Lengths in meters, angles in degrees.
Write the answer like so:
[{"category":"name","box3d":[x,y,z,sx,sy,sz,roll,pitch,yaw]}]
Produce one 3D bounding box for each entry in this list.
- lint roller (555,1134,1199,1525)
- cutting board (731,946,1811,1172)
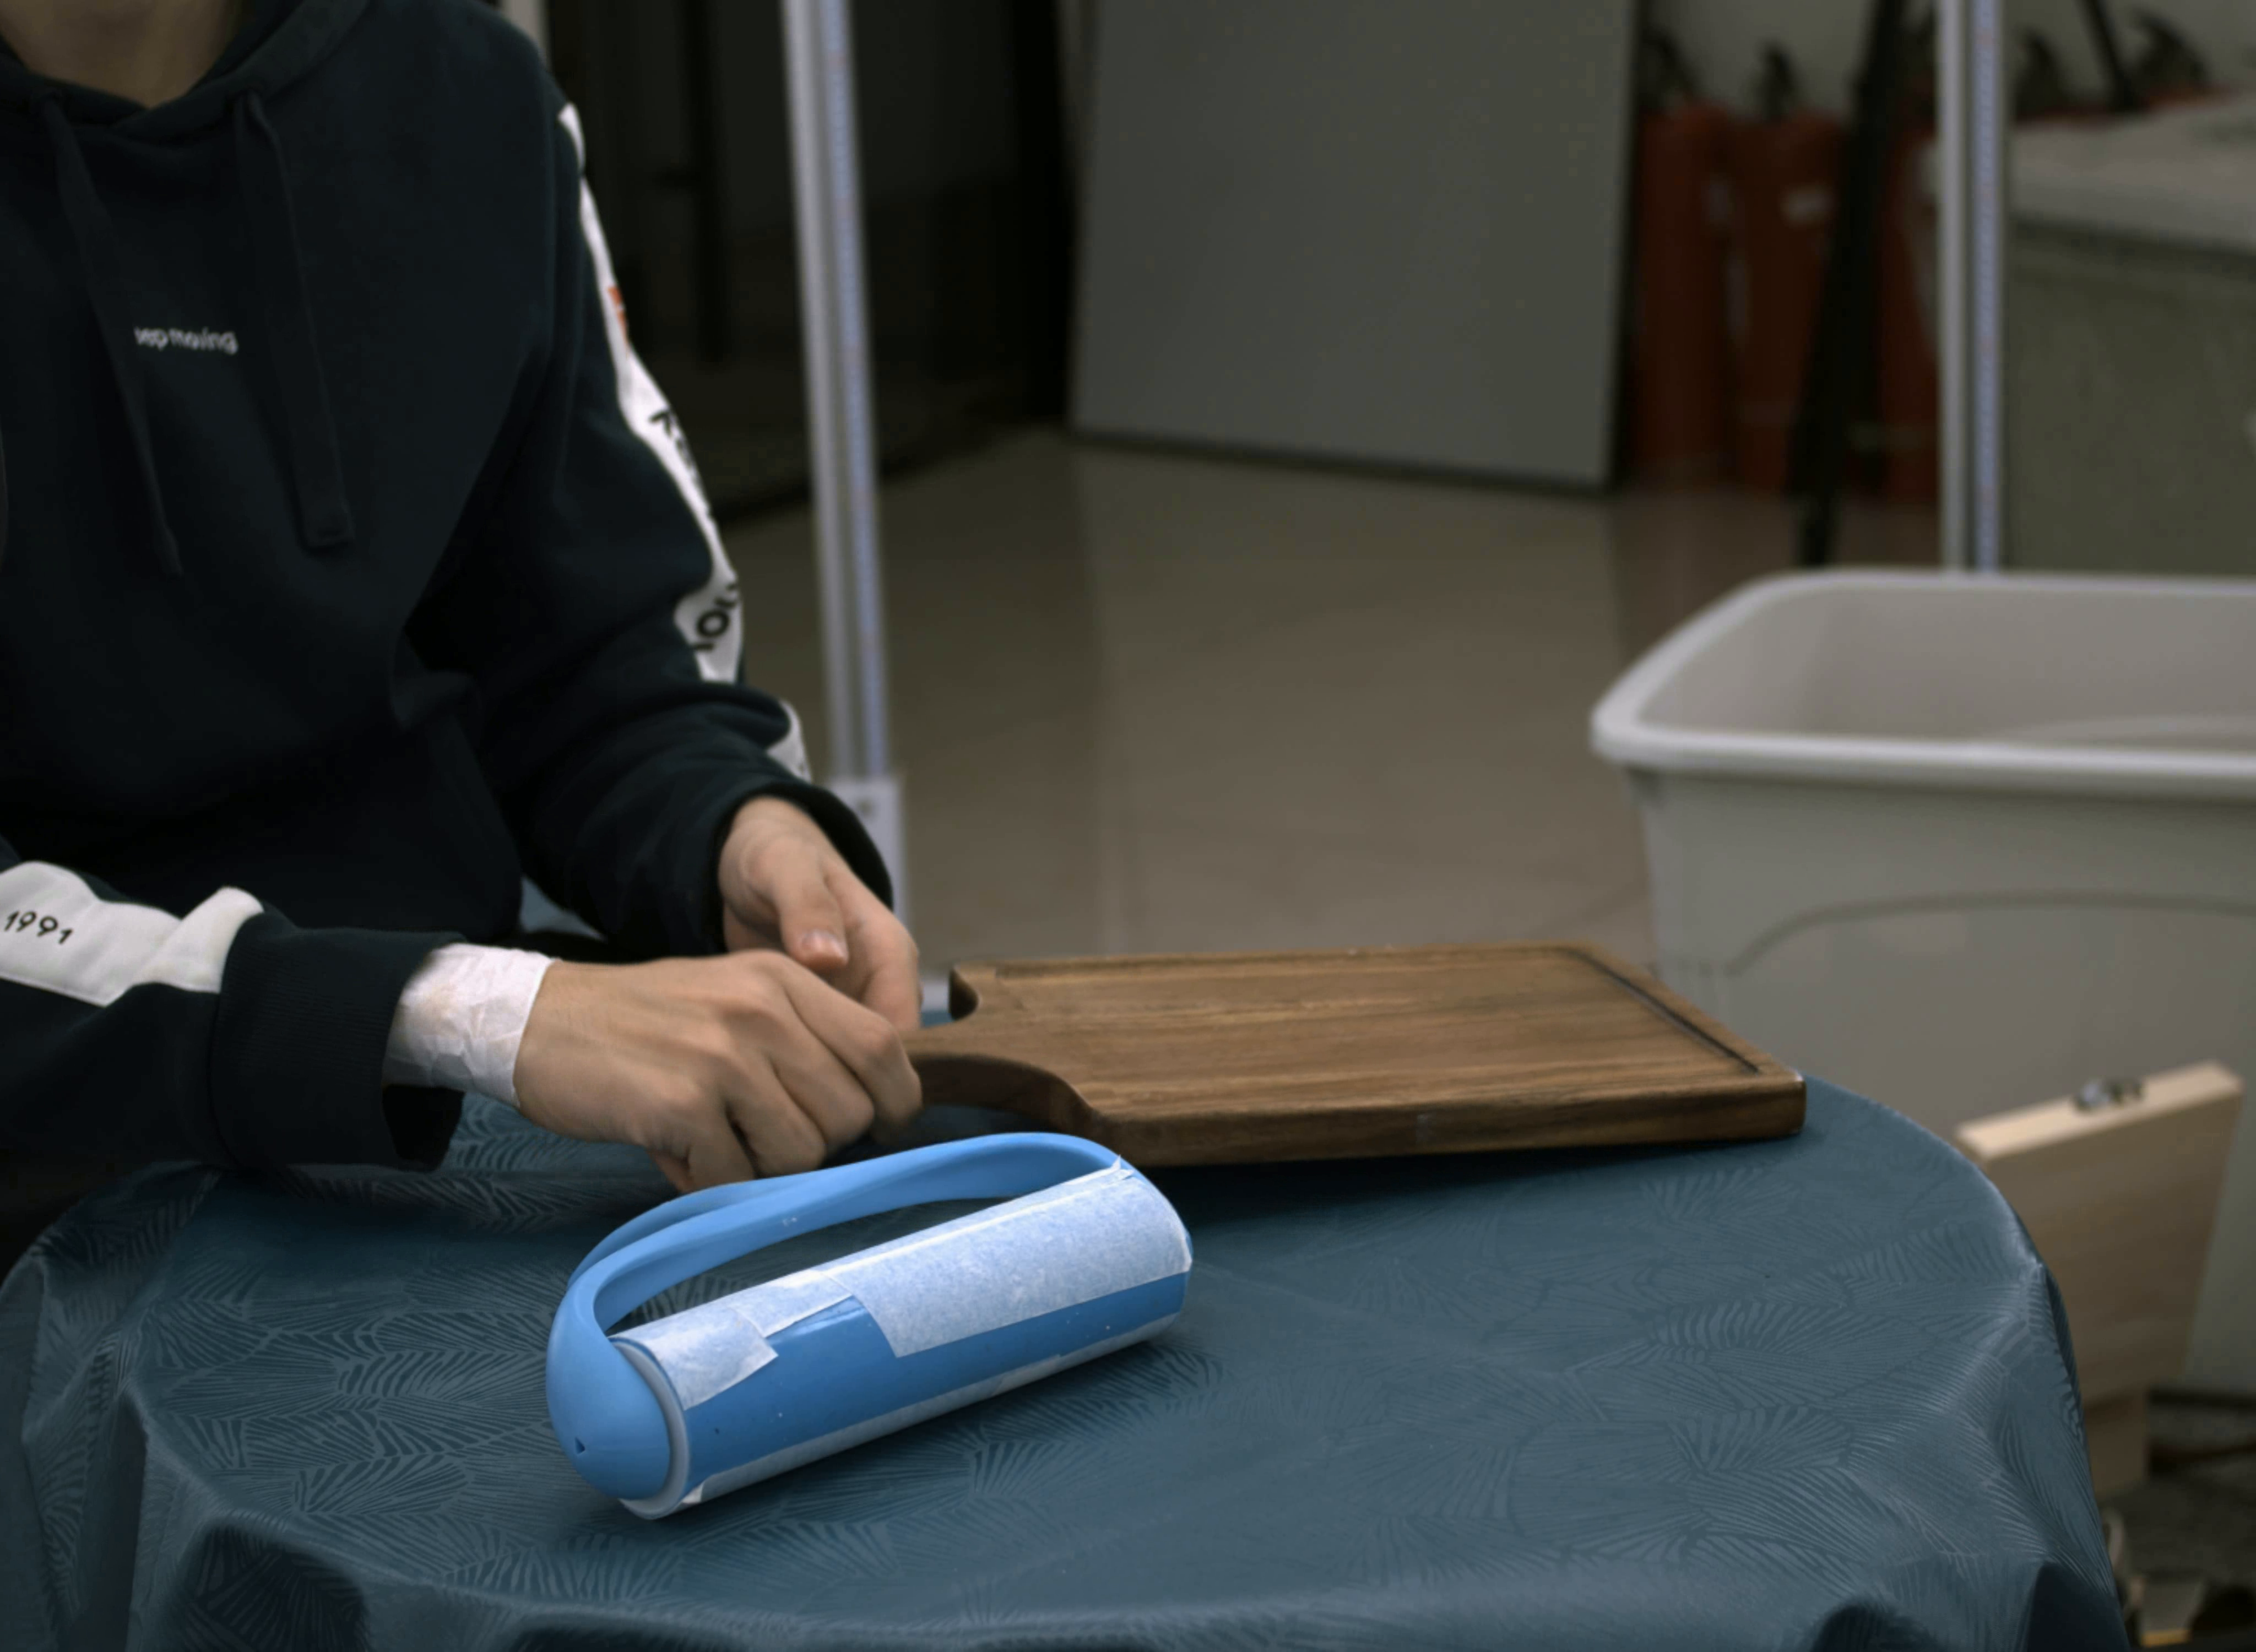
[{"category":"lint roller","box3d":[-0.109,0.139,1.610,0.224,0.068,0.182,-19,21,-41]},{"category":"cutting board","box3d":[0.035,0.079,1.822,0.345,0.023,0.203,-3,12,-16]}]
